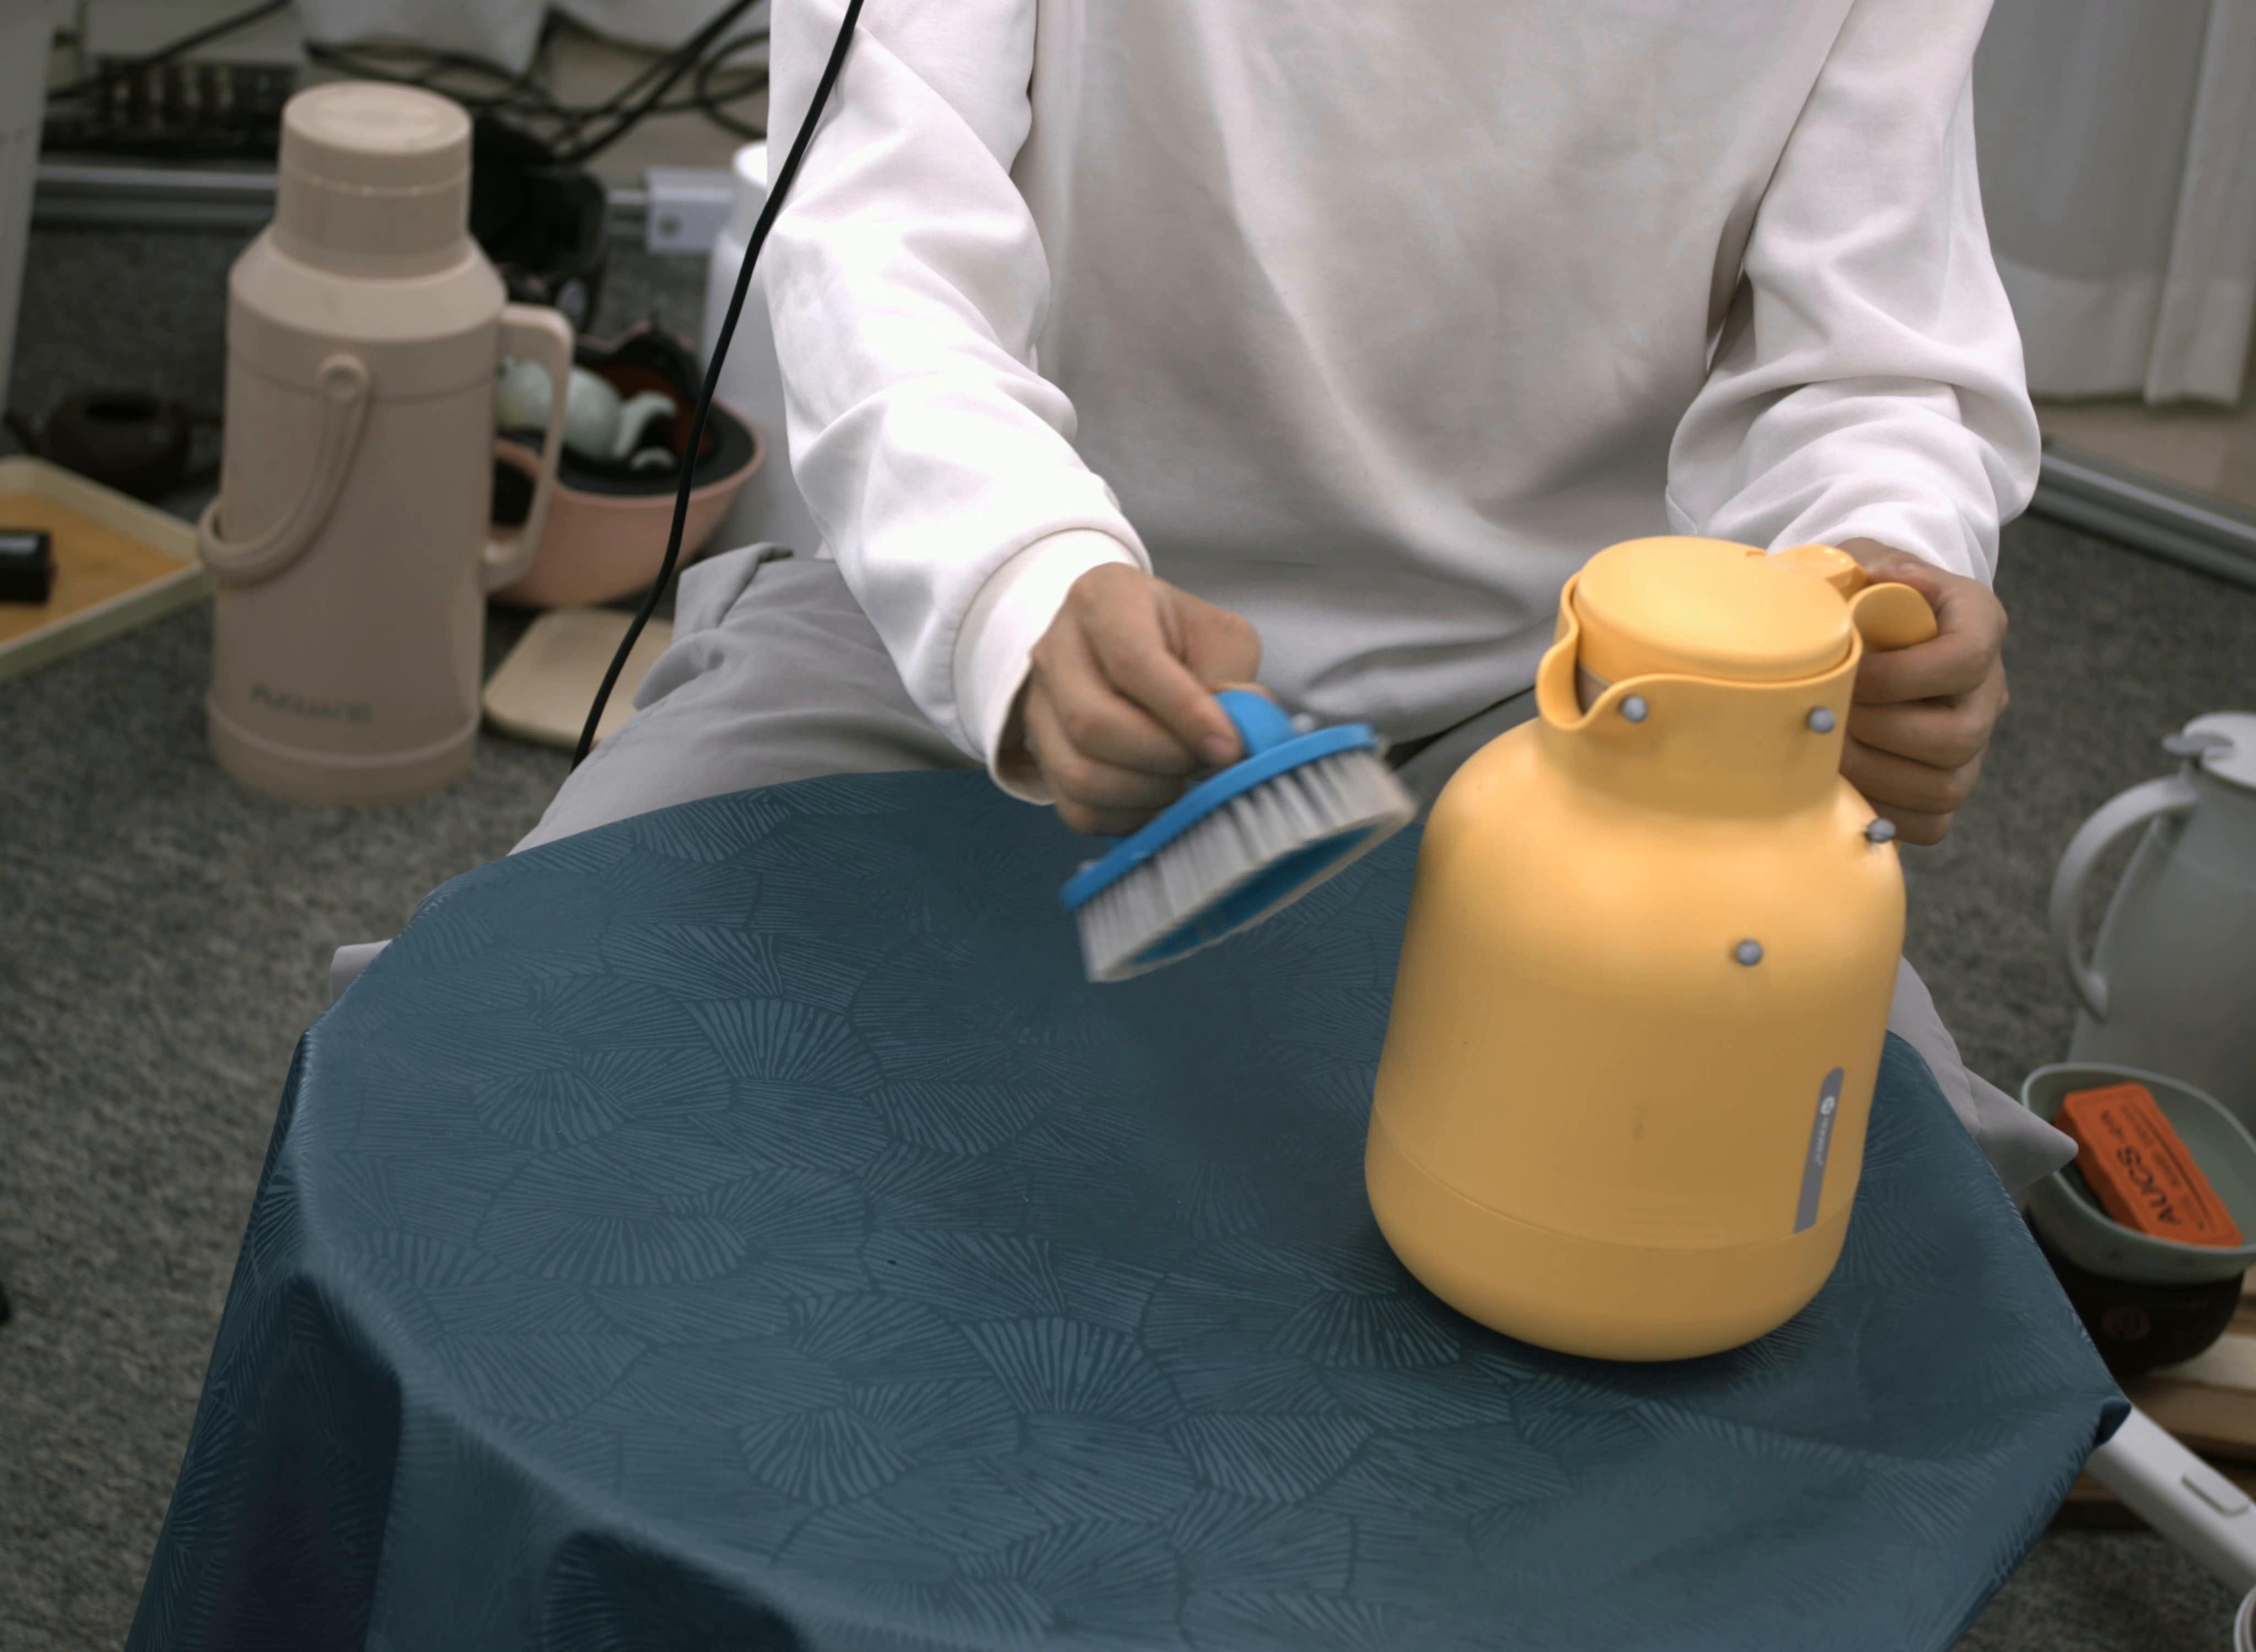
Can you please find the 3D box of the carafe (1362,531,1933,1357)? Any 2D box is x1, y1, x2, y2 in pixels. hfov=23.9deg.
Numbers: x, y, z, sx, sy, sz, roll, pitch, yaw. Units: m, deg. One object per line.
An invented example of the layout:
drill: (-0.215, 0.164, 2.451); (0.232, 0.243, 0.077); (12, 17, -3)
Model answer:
carafe: (0.184, 0.029, 1.748); (0.201, 0.259, 0.165); (-20, 40, -40)

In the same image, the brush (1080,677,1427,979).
brush: (0.032, -0.007, 1.738); (0.084, 0.142, 0.064); (-28, 83, -39)
